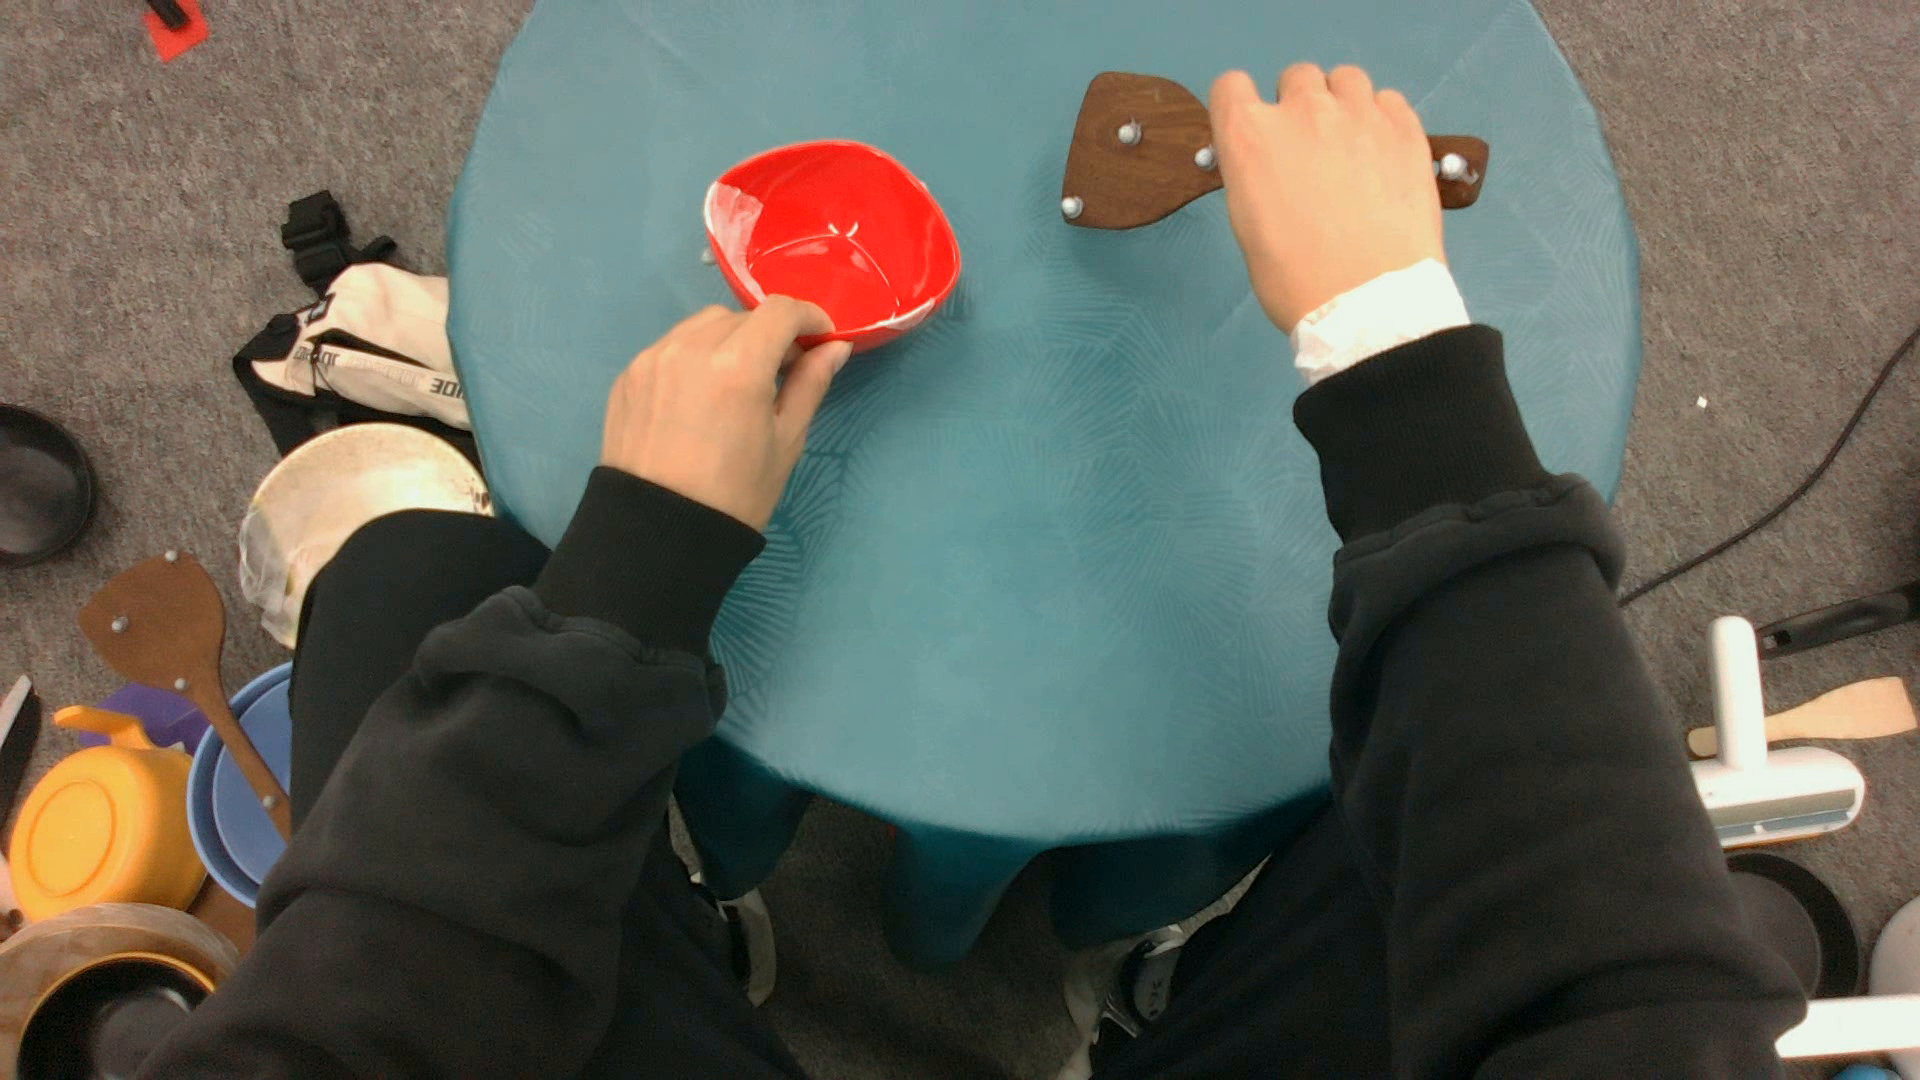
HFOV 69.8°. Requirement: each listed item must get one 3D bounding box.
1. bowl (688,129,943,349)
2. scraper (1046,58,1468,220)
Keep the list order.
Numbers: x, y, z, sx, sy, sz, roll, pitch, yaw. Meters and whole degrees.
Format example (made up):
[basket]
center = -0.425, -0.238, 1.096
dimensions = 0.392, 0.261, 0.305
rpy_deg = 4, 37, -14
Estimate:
[bowl]
center = -0.070, -0.133, 0.649
dimensions = 0.119, 0.051, 0.119
rpy_deg = 7, 59, -12
[scraper]
center = 0.122, -0.171, 0.604
dimensions = 0.211, 0.011, 0.076
rpy_deg = 20, 101, 42
